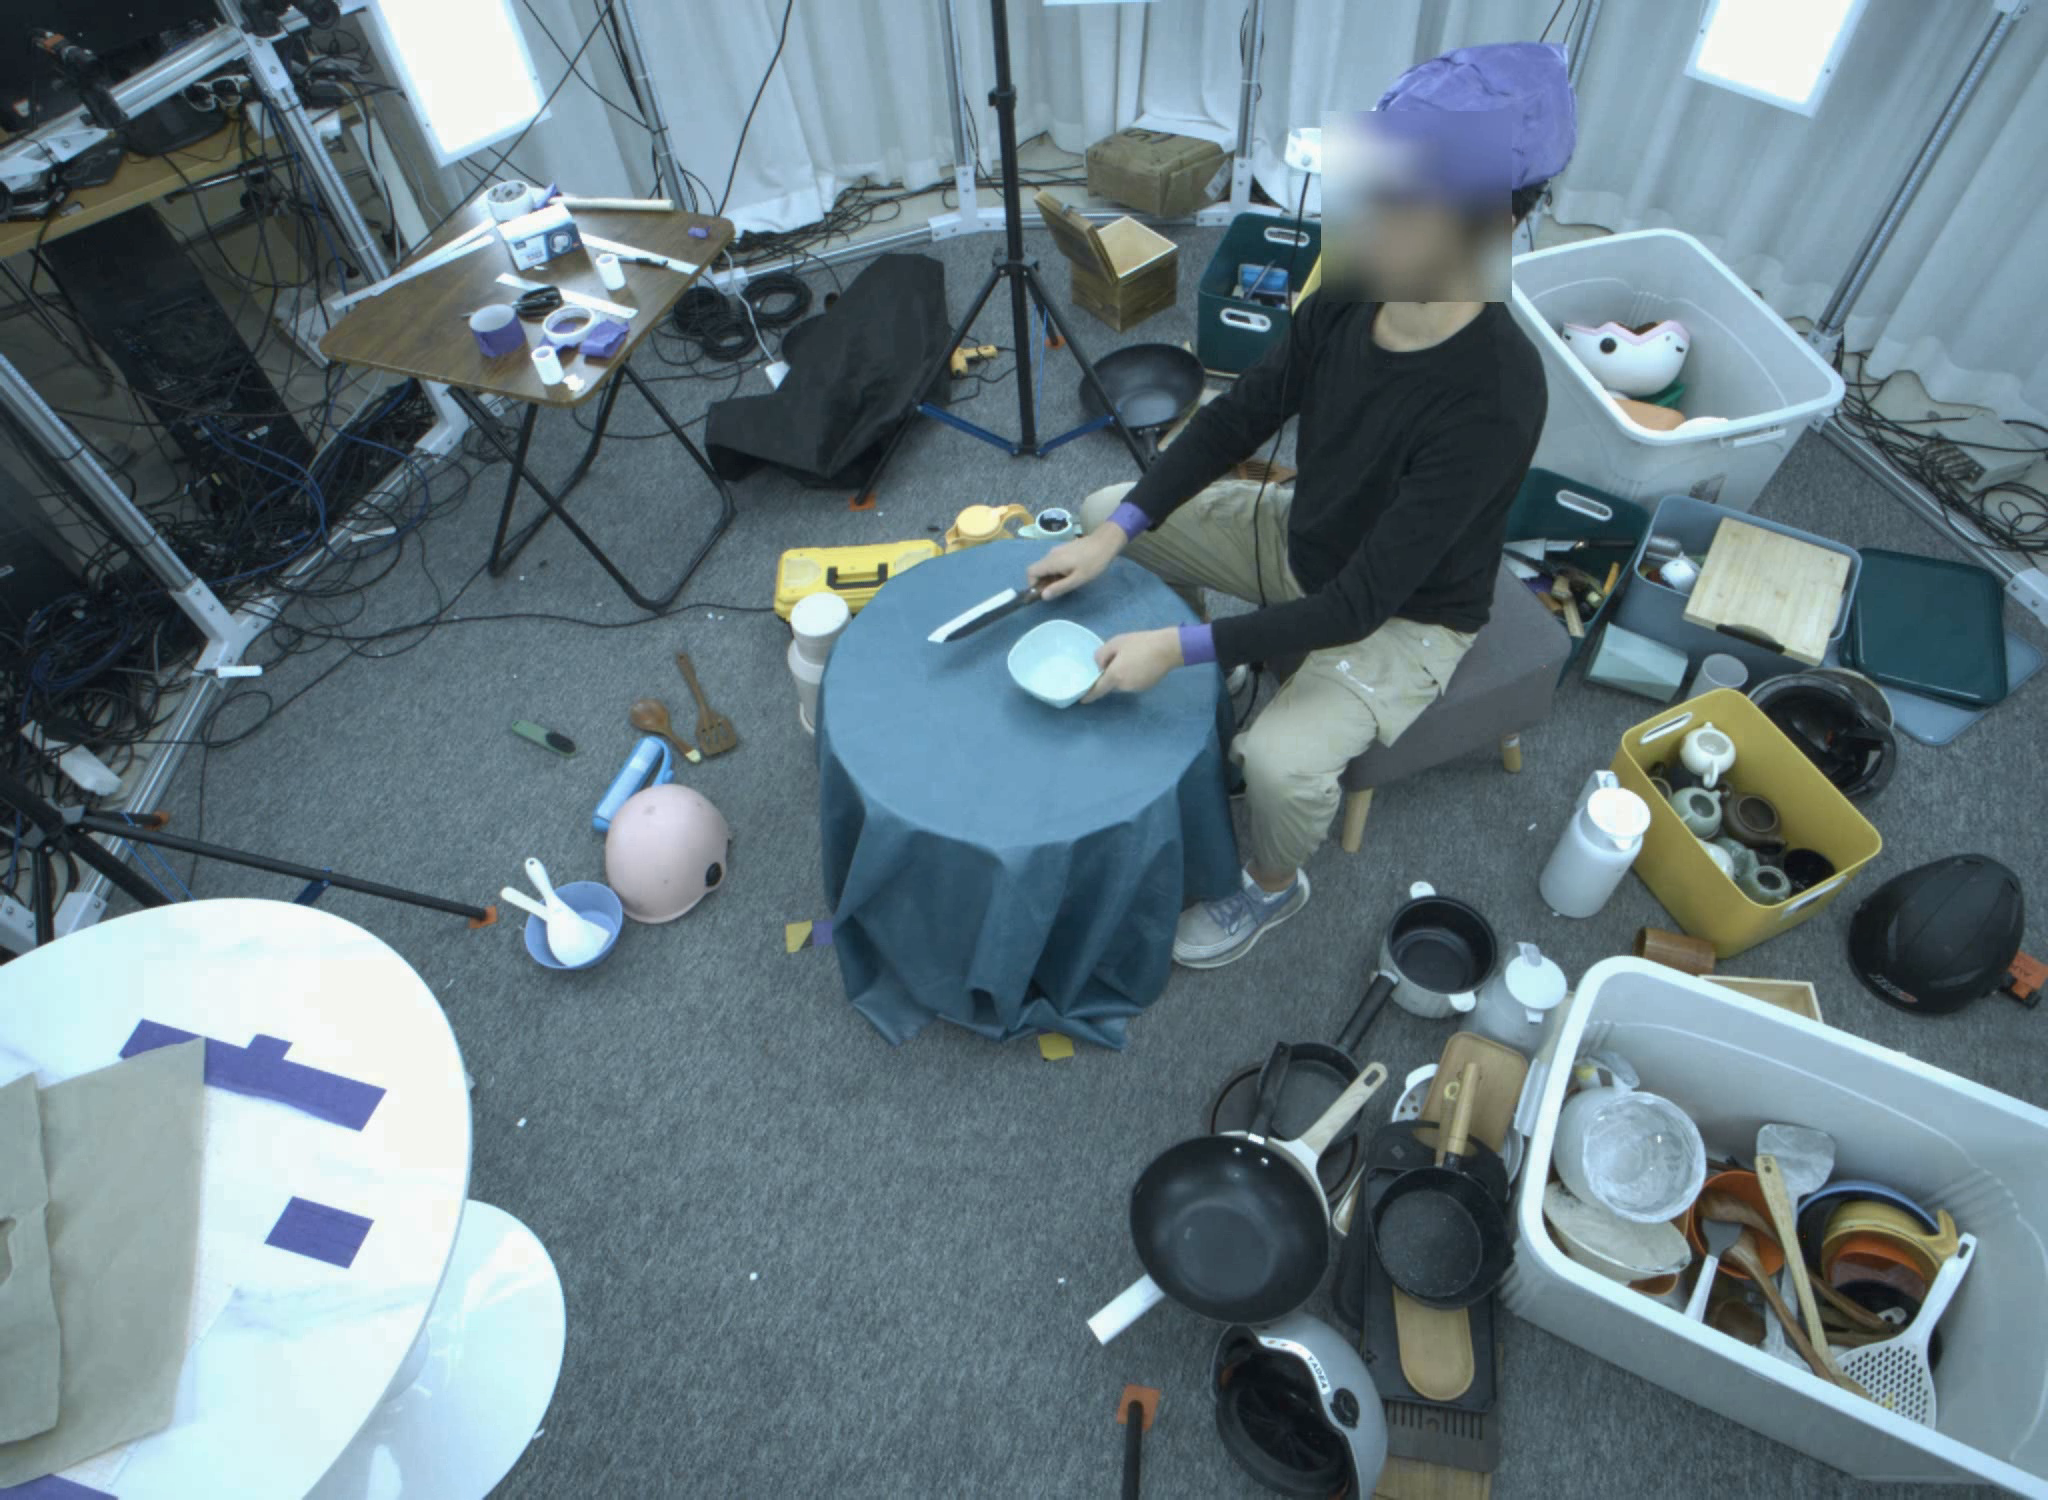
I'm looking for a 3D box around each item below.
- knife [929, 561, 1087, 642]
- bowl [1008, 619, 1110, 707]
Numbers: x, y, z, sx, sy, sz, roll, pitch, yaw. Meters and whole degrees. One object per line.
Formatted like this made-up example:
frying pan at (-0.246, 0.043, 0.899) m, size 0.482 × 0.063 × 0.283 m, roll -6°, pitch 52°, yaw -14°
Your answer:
knife at (-0.023, -0.228, 1.894) m, size 0.292 × 0.020 × 0.049 m, roll -28°, pitch 55°, yaw -22°
bowl at (0.053, -0.119, 1.827) m, size 0.151 × 0.059 × 0.150 m, roll -2°, pitch 56°, yaw 4°
